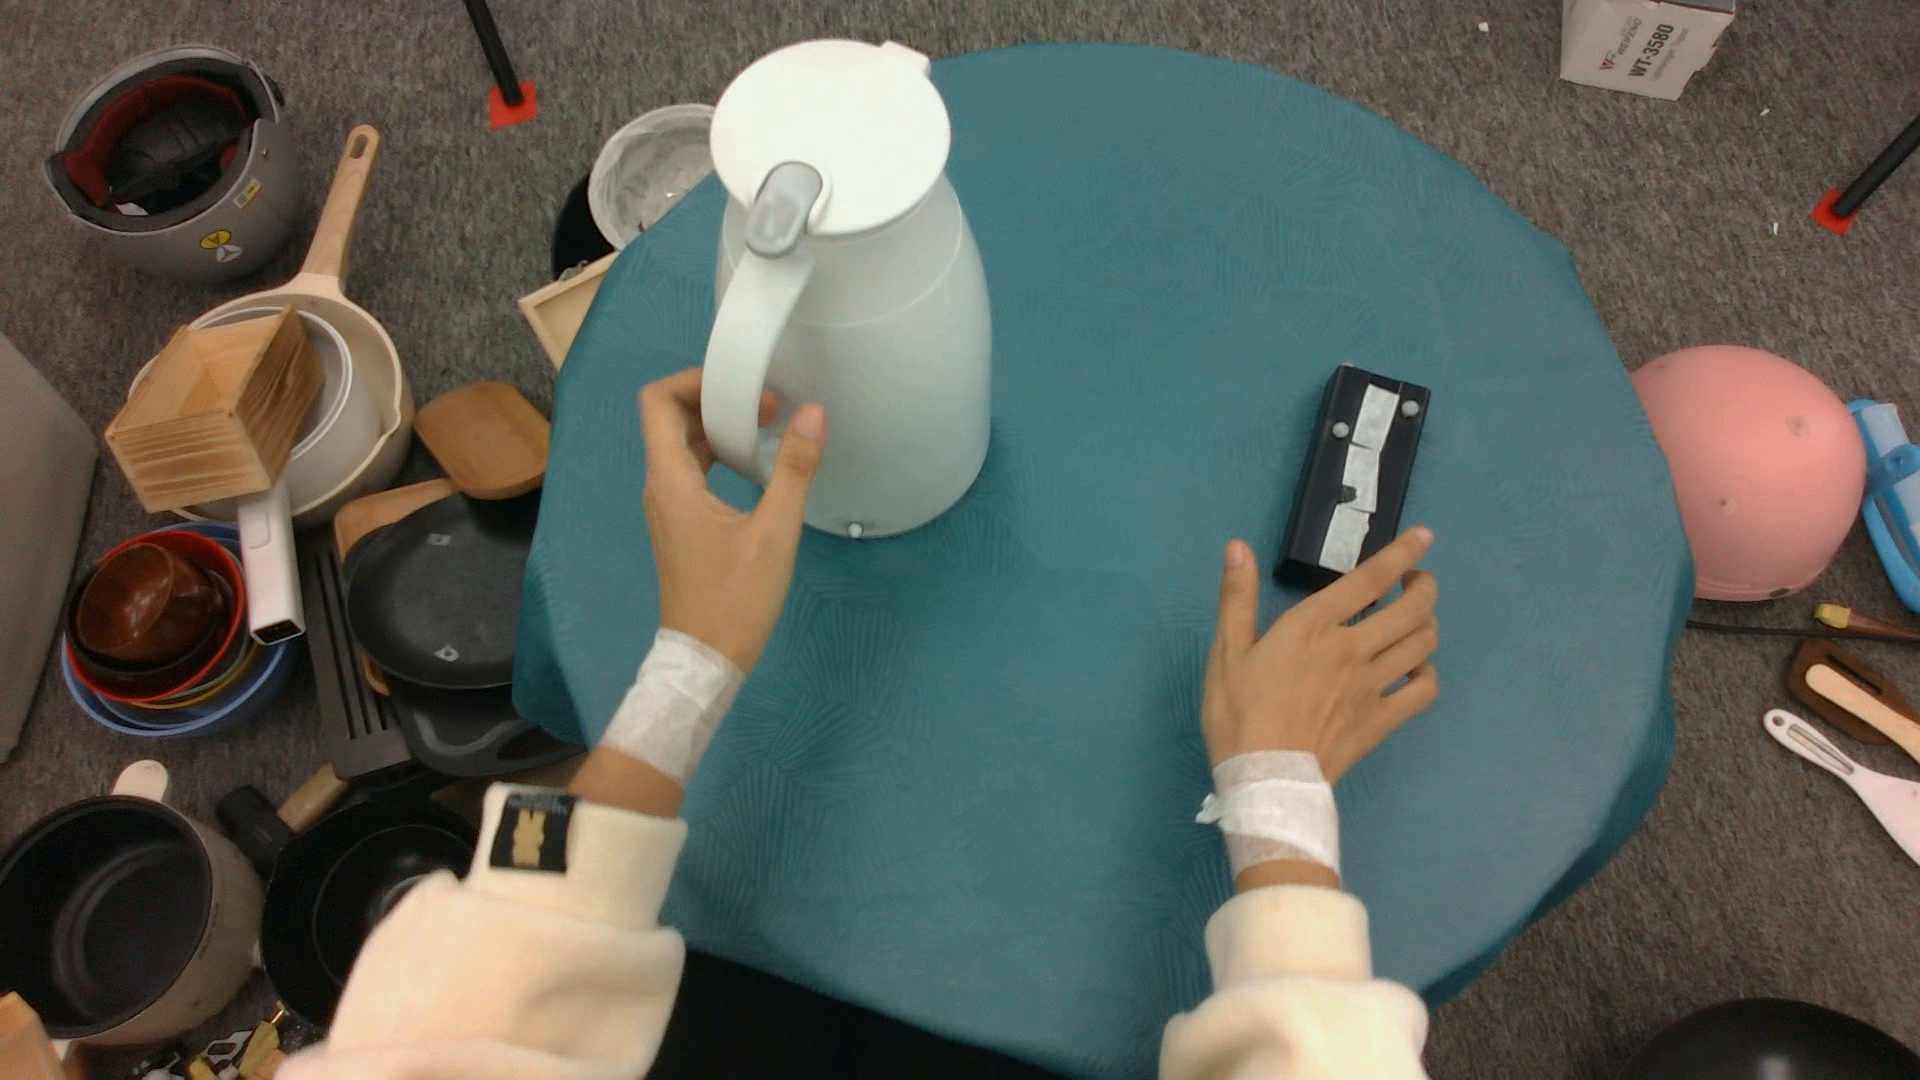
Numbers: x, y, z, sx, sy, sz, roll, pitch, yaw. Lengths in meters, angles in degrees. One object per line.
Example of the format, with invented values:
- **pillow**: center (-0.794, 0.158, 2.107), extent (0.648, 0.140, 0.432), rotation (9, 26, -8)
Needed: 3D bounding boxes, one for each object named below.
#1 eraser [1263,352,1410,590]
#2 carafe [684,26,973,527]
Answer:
- **eraser**: center (0.198, -0.038, 0.723), extent (0.053, 0.030, 0.126), rotation (15, 67, 8)
- **carafe**: center (-0.065, -0.099, 0.624), extent (0.132, 0.247, 0.168), rotation (24, 69, 9)
